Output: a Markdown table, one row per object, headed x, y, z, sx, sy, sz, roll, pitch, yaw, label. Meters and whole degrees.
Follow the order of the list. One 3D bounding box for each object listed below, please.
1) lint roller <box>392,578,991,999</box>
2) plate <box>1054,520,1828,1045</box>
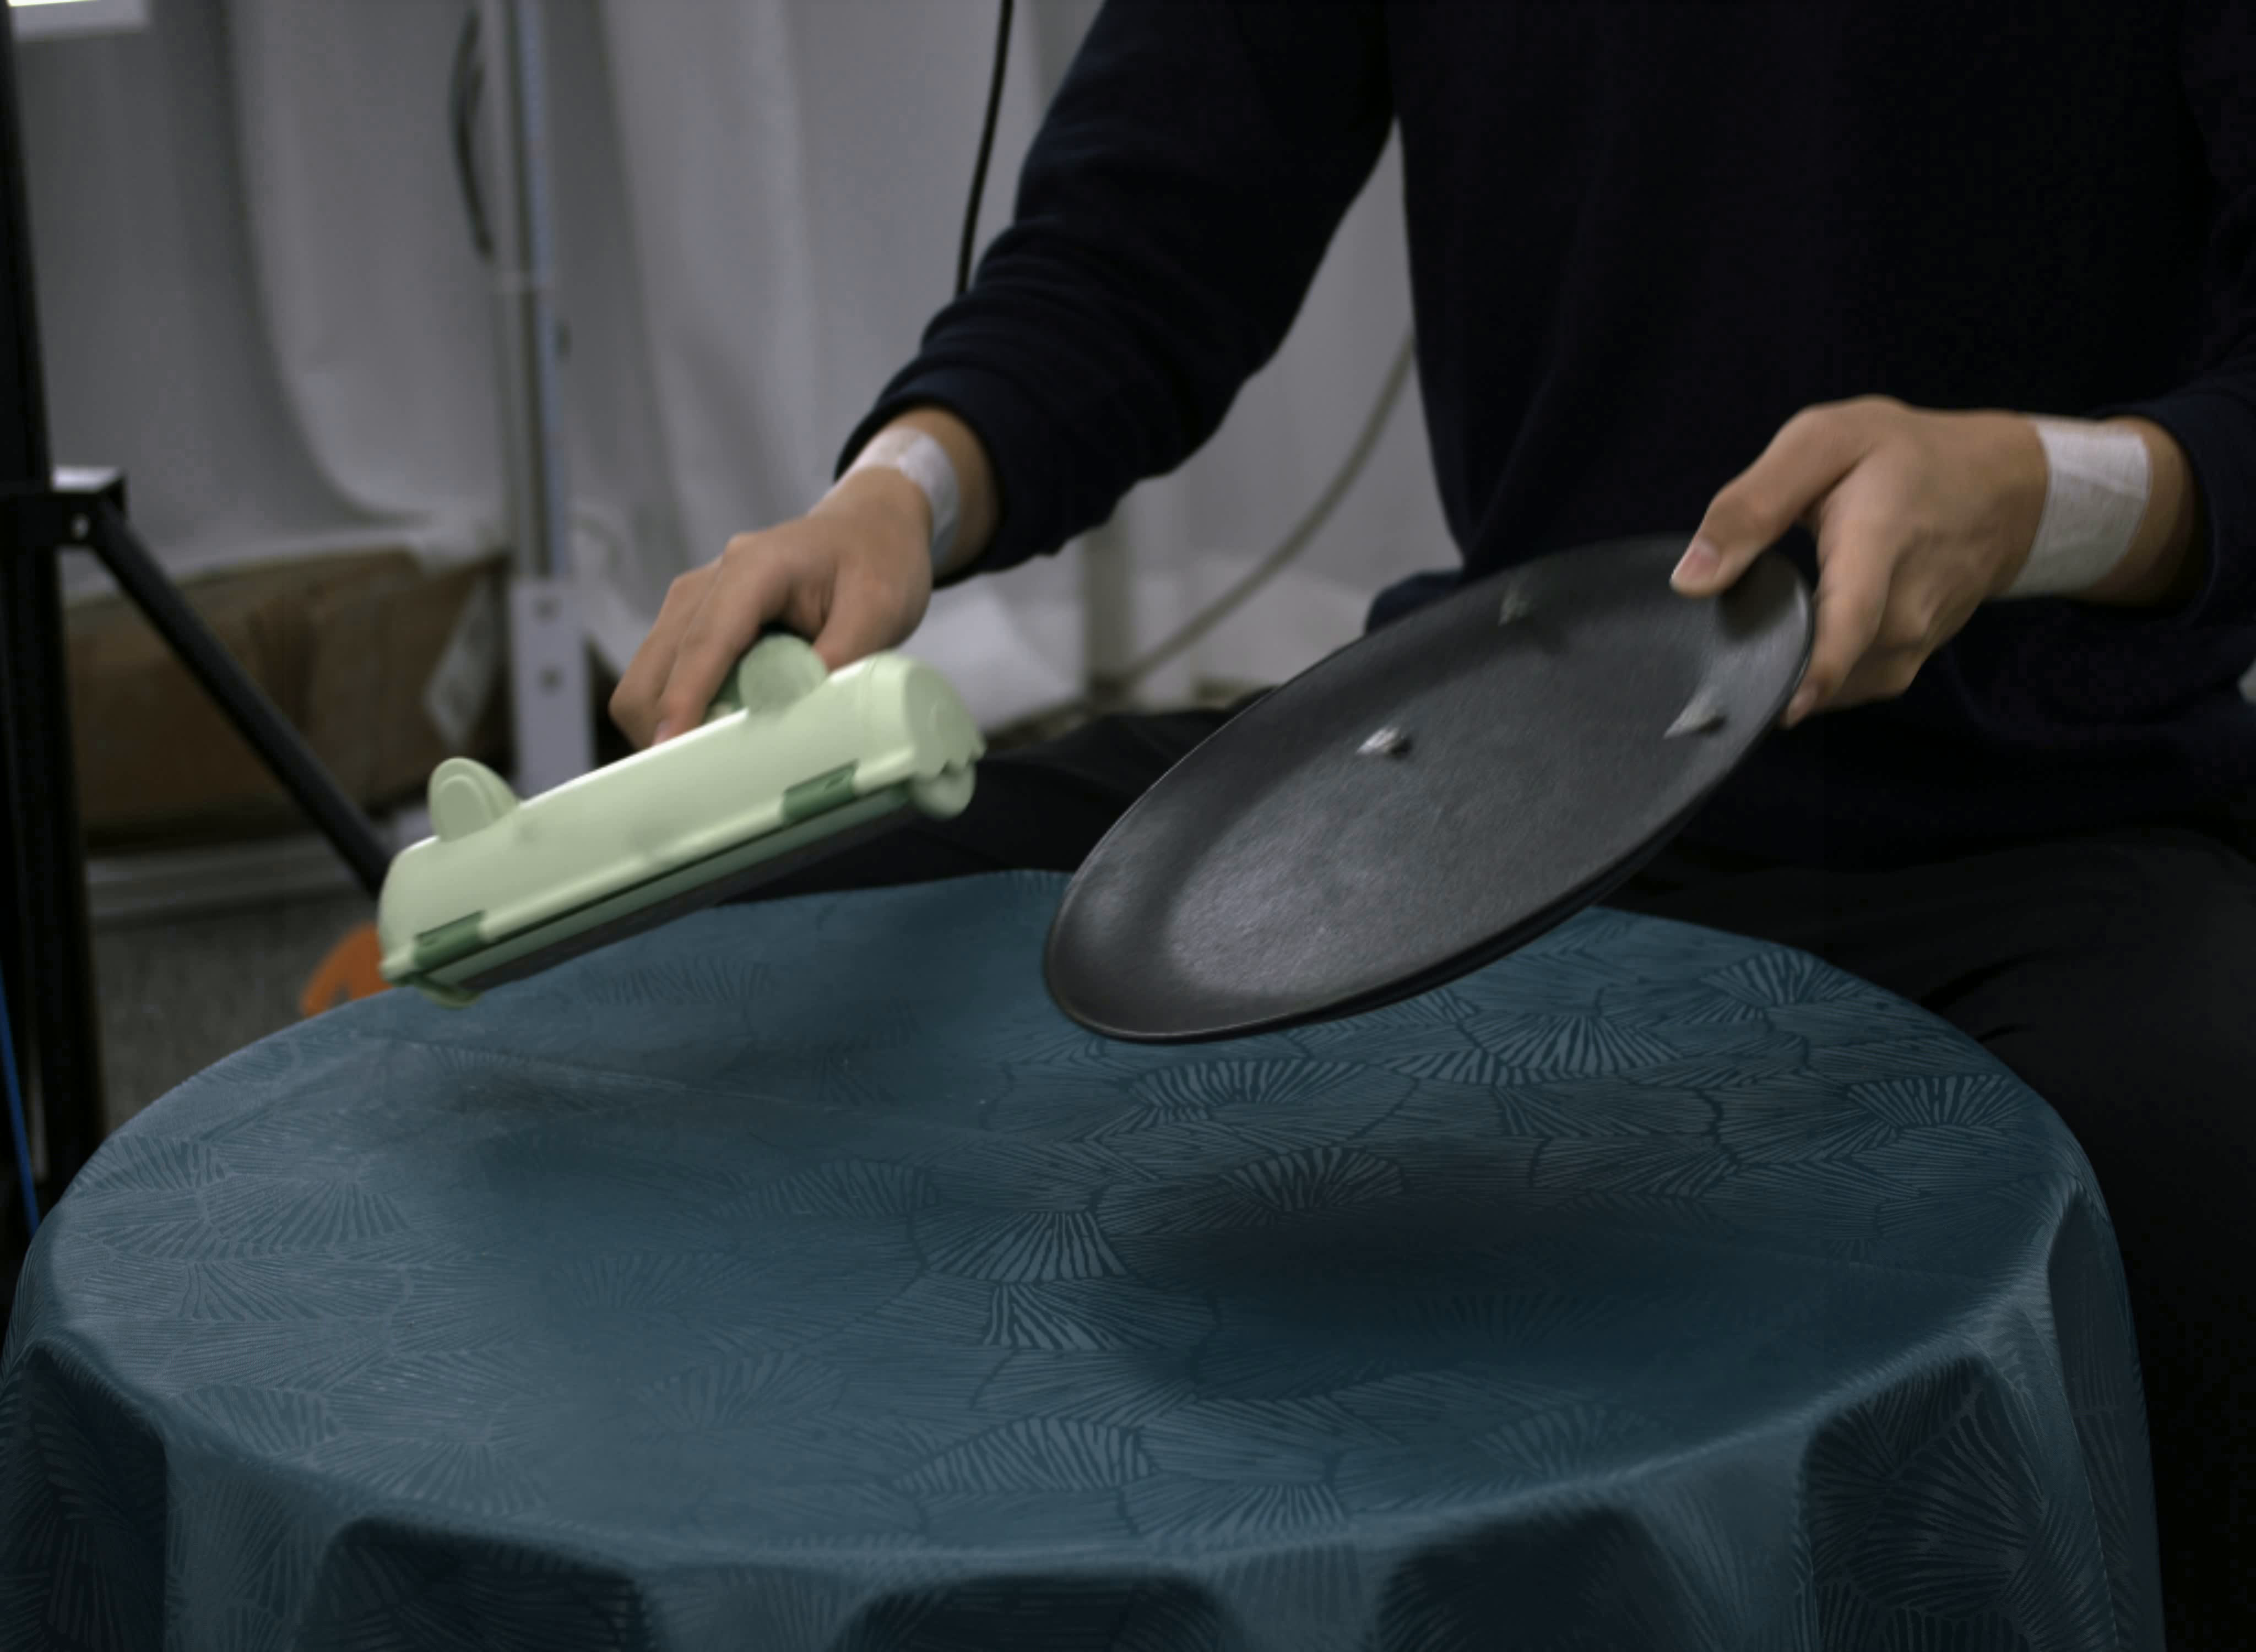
| x | y | z | sx | sy | sz | roll | pitch | yaw | label |
| --- | --- | --- | --- | --- | --- | --- | --- | --- | --- |
| -0.136 | -0.042 | 1.684 | 0.200 | 0.081 | 0.184 | -23 | 33 | 22 | lint roller |
| 0.090 | -0.008 | 1.496 | 0.245 | 0.023 | 0.246 | -28 | 21 | 10 | plate |
